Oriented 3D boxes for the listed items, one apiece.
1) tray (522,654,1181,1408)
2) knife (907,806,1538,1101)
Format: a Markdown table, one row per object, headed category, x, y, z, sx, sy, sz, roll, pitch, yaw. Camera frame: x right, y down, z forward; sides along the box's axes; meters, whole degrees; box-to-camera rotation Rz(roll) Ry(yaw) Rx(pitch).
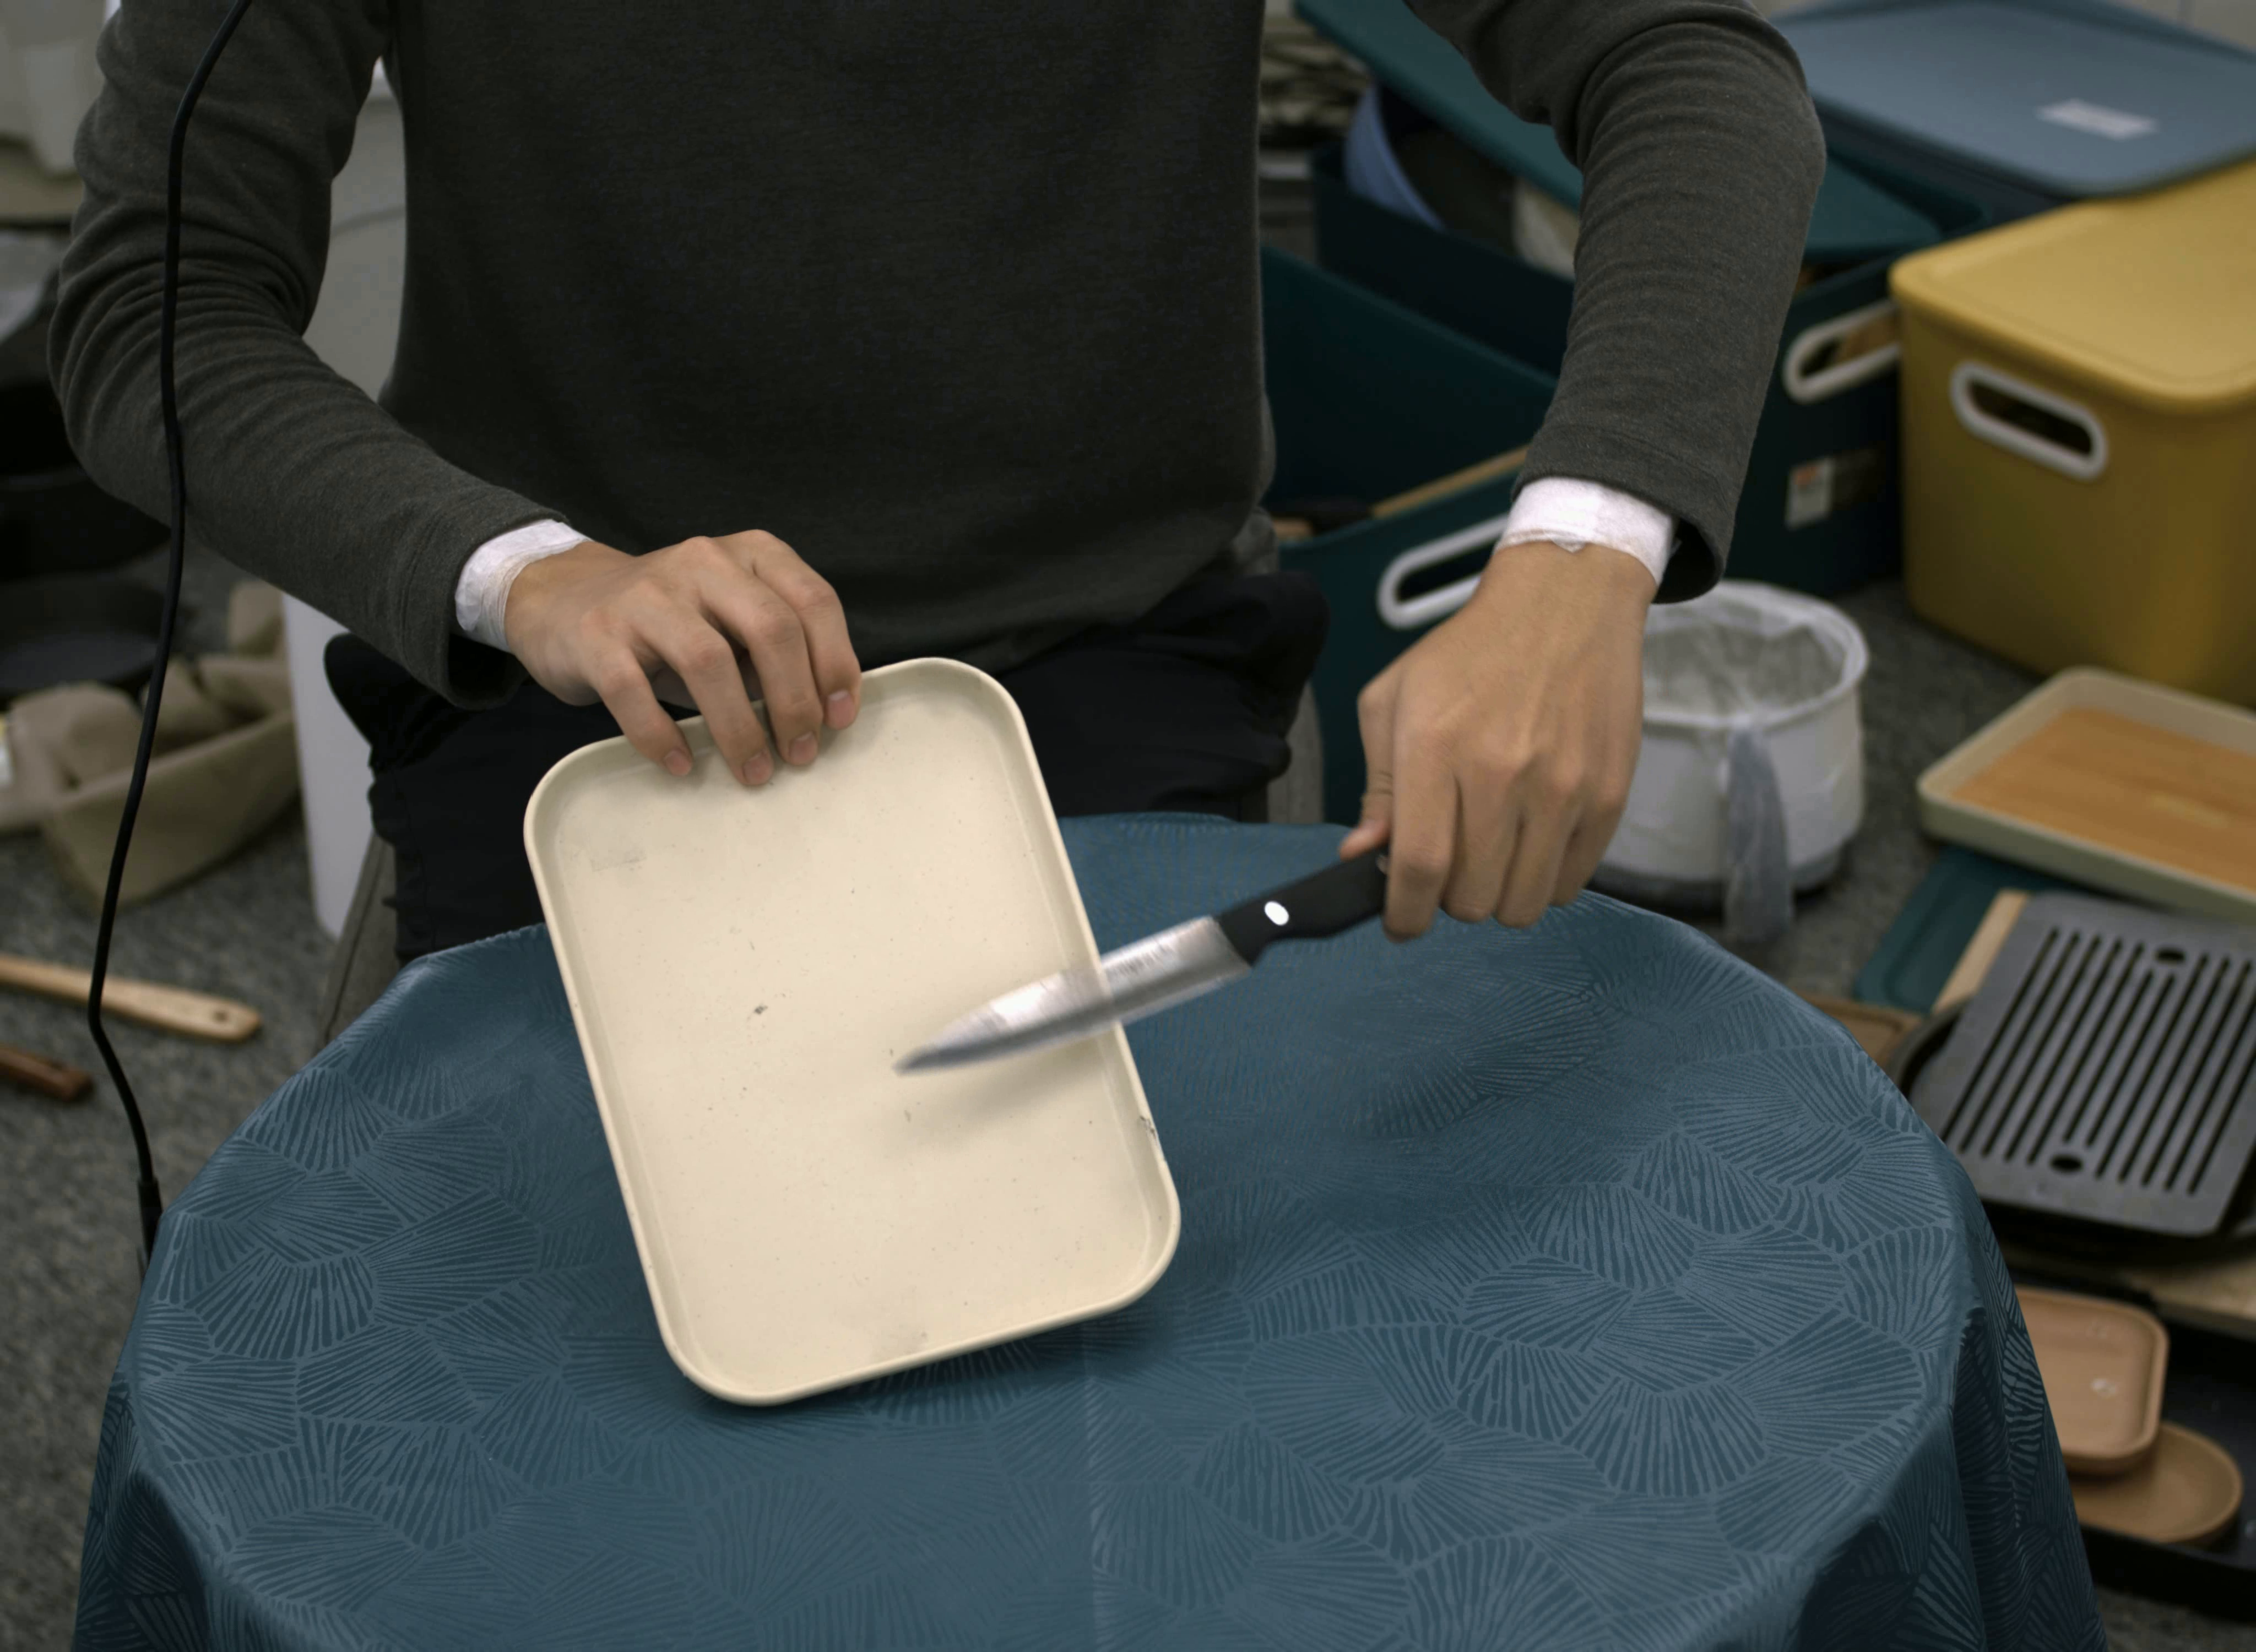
| category | x | y | z | sx | sy | sz | roll | pitch | yaw |
| --- | --- | --- | --- | --- | --- | --- | --- | --- | --- |
| tray | -0.091 | 0.065 | 1.813 | 0.171 | 0.017 | 0.243 | -14 | 65 | -8 |
| knife | 0.031 | 0.041 | 1.824 | 0.240 | 0.024 | 0.016 | -23 | -13 | -23 |
